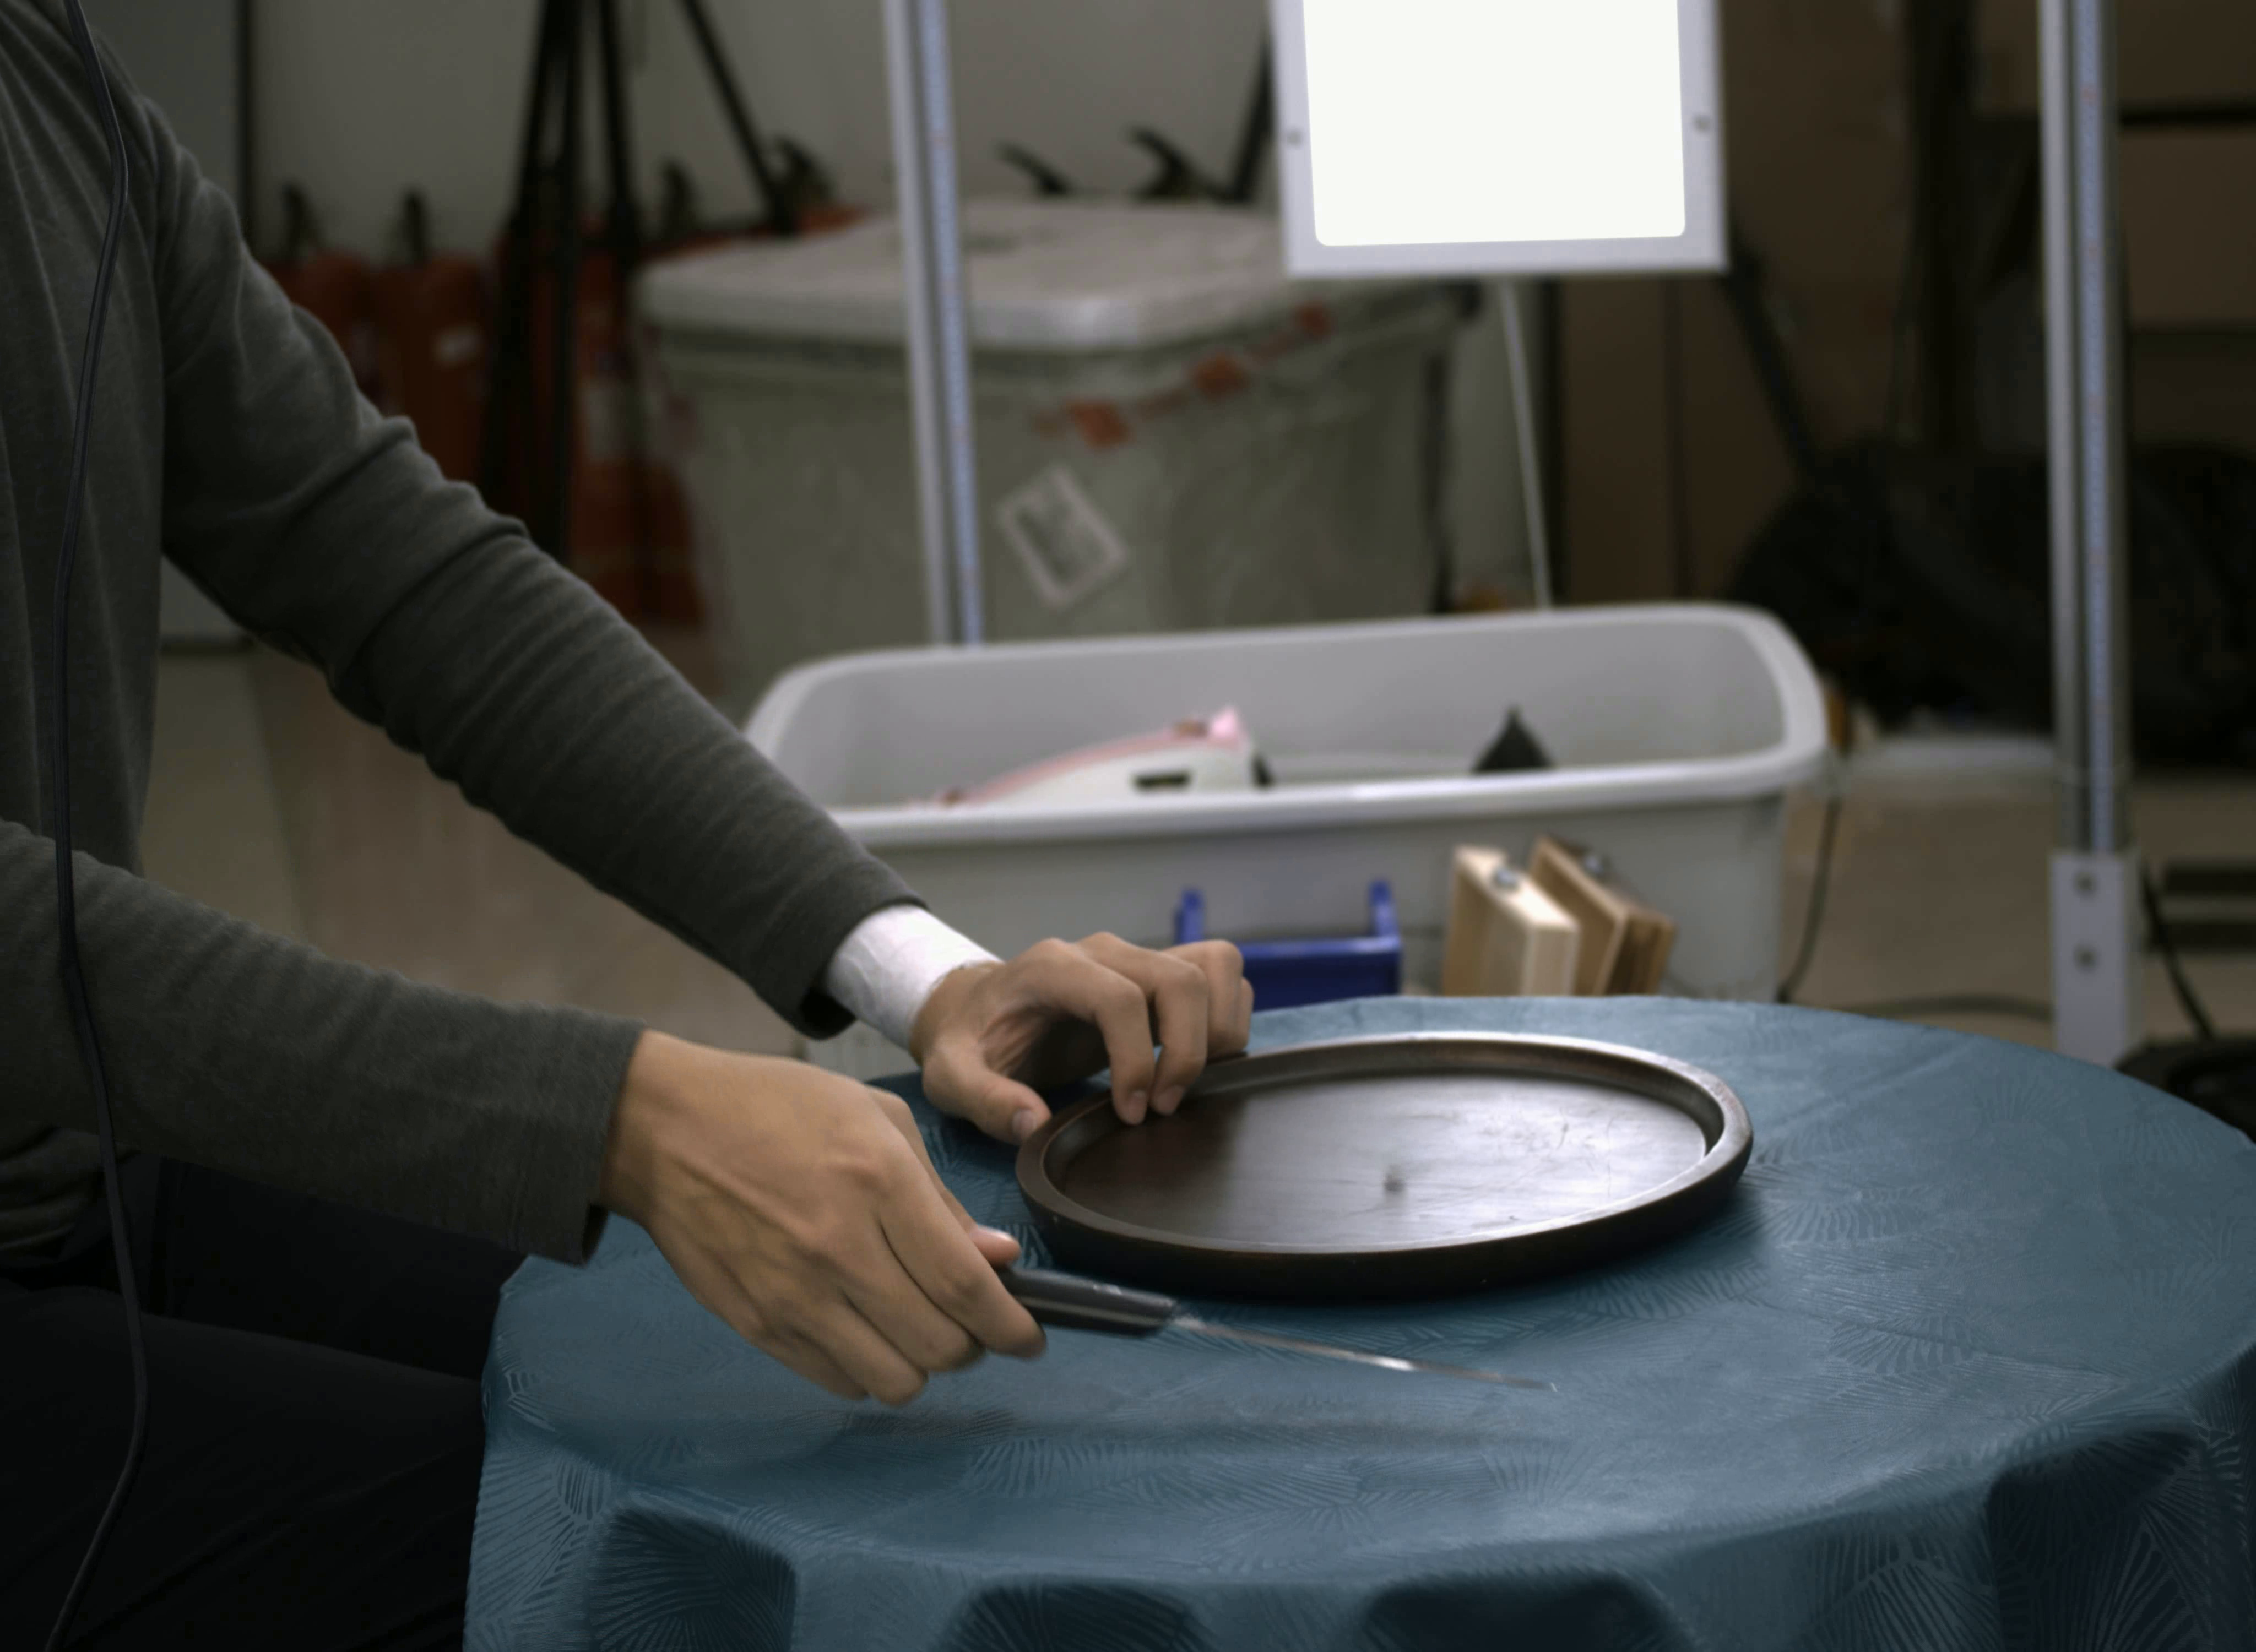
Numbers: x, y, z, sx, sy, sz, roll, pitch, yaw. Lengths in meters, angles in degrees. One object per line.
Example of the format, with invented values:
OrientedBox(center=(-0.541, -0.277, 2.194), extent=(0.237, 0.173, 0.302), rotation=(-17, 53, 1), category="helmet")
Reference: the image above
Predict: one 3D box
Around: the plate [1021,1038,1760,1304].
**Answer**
OrientedBox(center=(0.089, 0.115, 1.871), extent=(0.254, 0.029, 0.254), rotation=(-4, 13, 0), category="plate")

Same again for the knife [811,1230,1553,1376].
OrientedBox(center=(0.013, 0.147, 1.669), extent=(0.241, 0.016, 0.024), rotation=(8, 2, 19), category="knife")
